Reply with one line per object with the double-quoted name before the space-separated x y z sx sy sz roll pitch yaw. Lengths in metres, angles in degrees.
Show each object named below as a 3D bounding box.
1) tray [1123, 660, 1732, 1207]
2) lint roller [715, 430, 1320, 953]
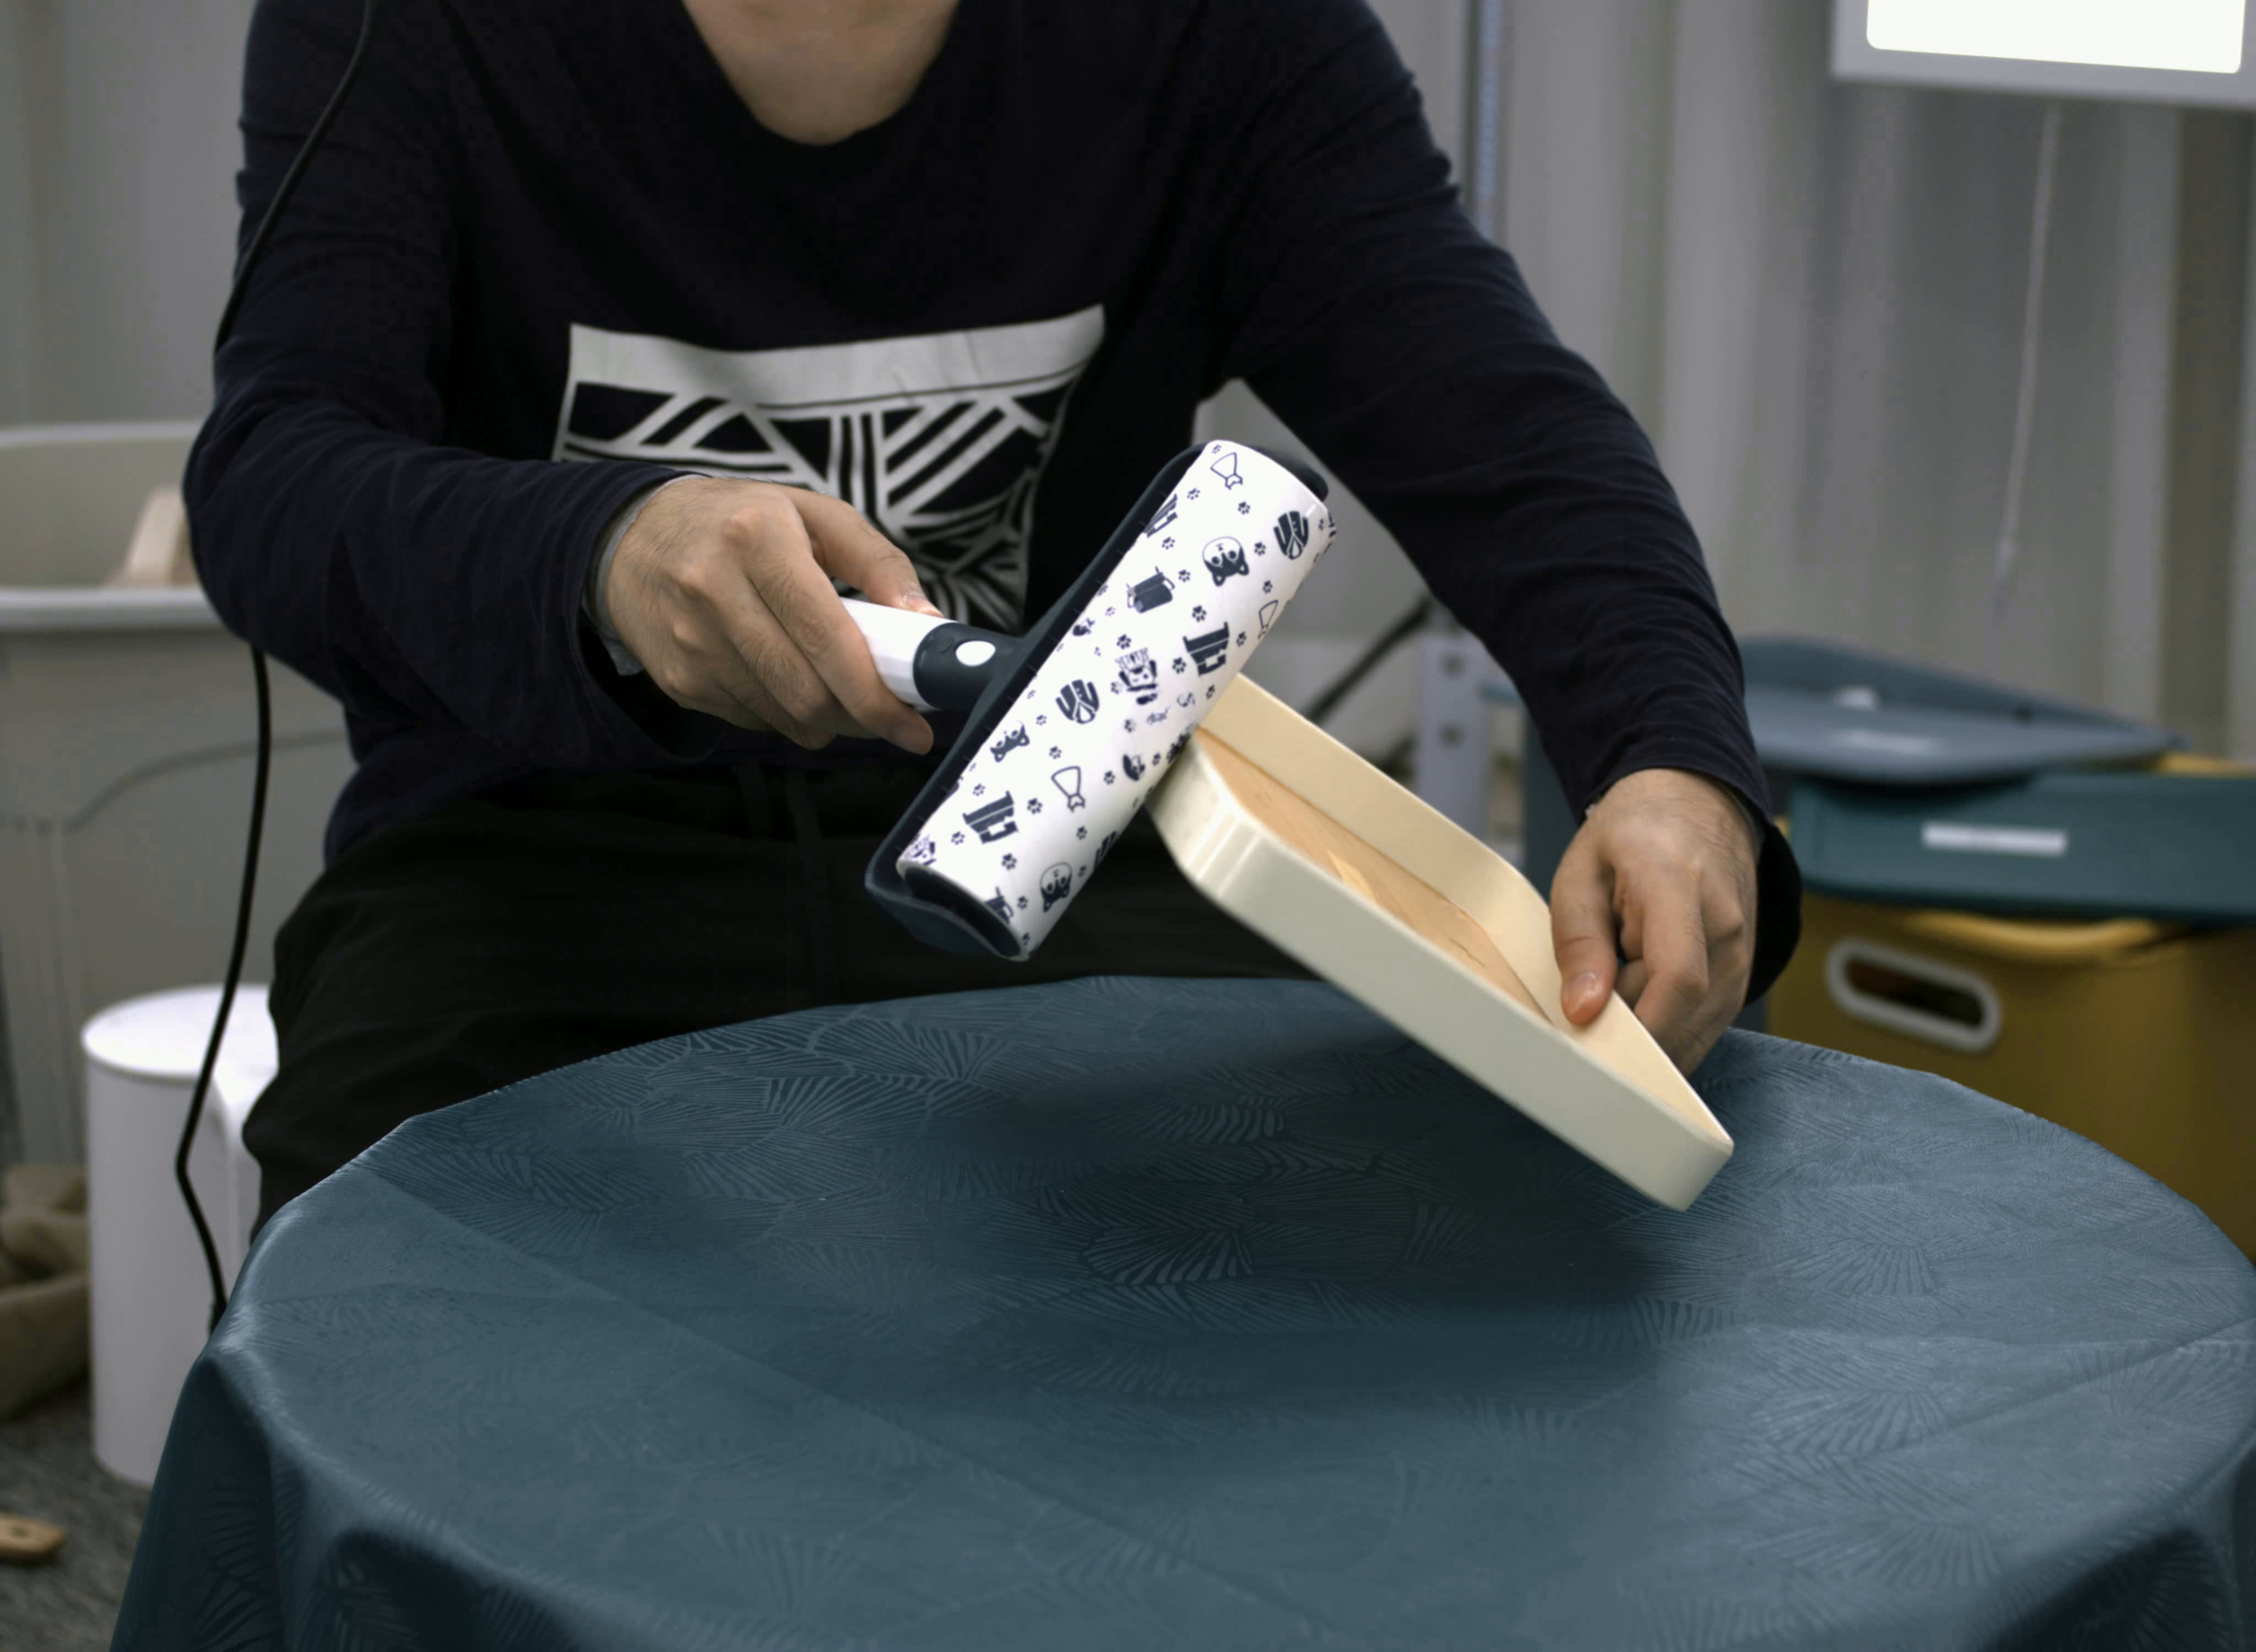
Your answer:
"tray" 0.074 0.016 1.632 0.193 0.027 0.298 33 9 -16
"lint roller" -0.064 -0.051 1.612 0.244 0.051 0.176 12 63 52
